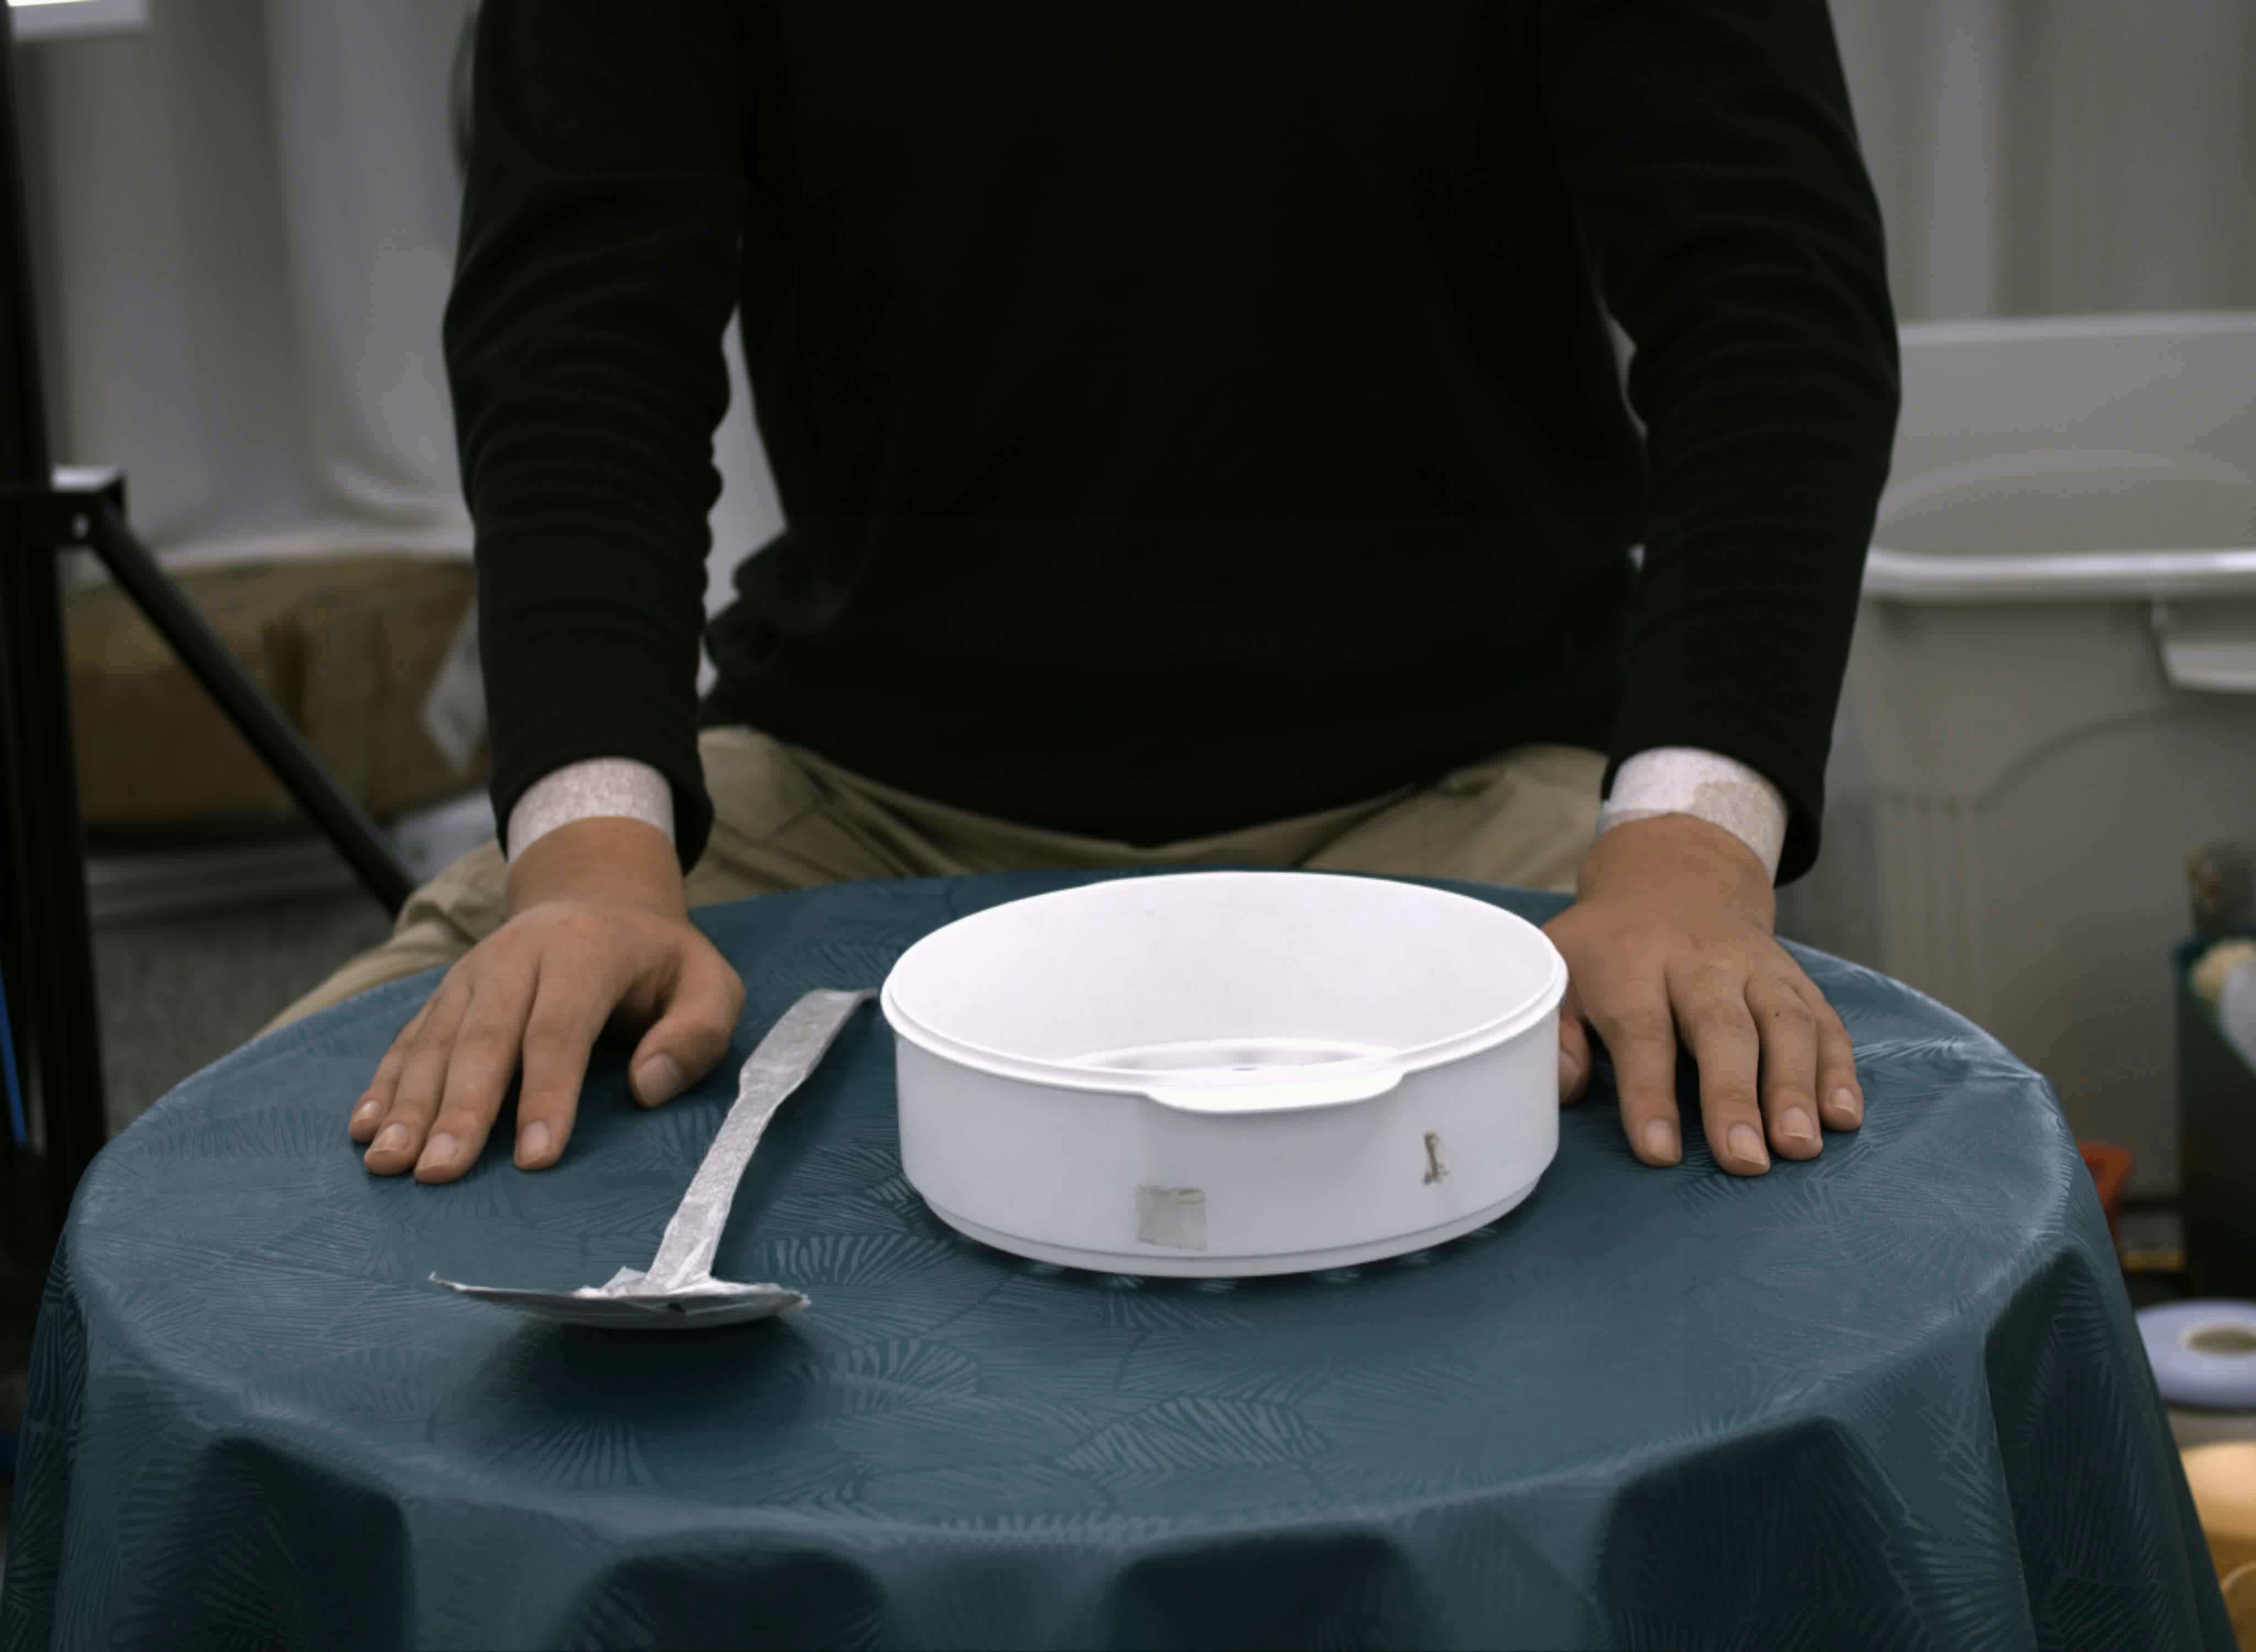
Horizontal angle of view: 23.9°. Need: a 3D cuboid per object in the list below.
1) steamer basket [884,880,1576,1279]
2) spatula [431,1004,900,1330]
[{"bbox_3d":[0.030,0.073,1.547,0.200,0.069,0.232,-3,15,-5],"label":"steamer basket"},{"bbox_3d":[-0.113,0.091,1.566,0.099,0.045,0.364,-2,16,9],"label":"spatula"}]
